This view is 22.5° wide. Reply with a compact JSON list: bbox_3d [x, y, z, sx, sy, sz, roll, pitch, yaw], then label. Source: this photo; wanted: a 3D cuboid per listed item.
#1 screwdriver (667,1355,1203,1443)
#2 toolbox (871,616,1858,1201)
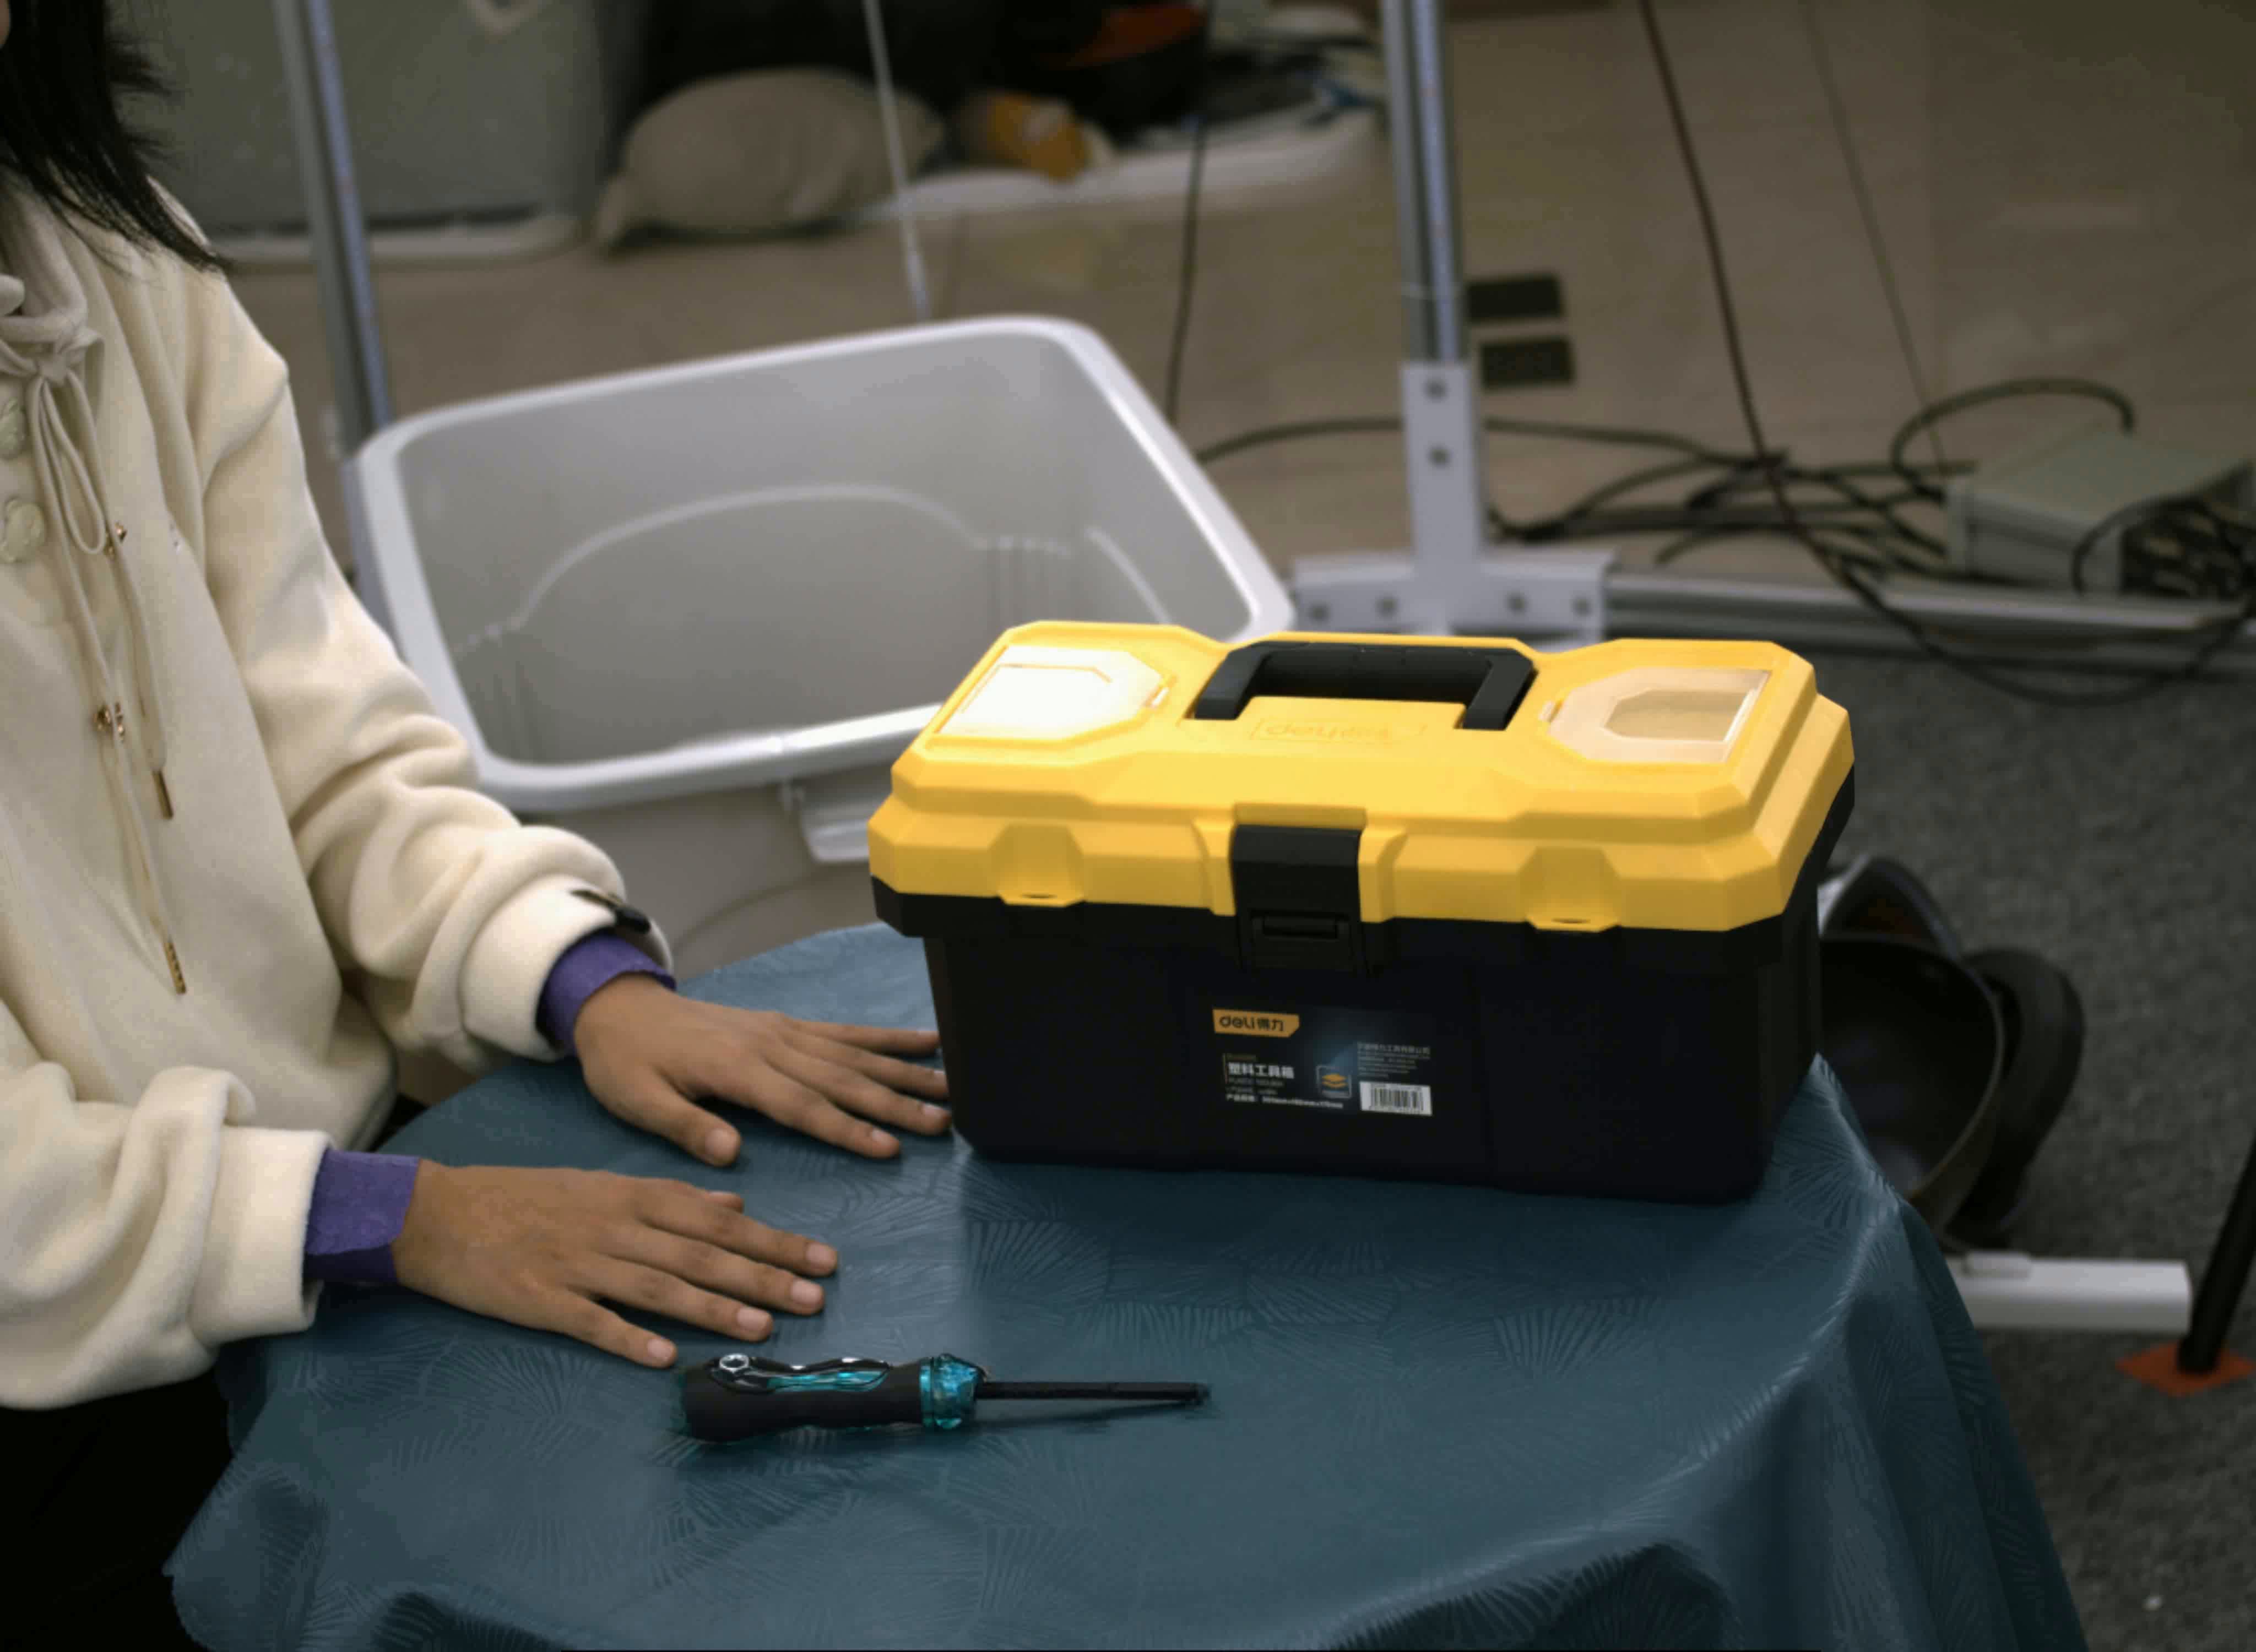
[{"bbox_3d":[-0.068,0.202,2.004,0.189,0.034,0.033,0,25,2],"label":"screwdriver"},{"bbox_3d":[0.092,0.030,2.150,0.350,0.175,0.179,3,27,19],"label":"toolbox"}]
